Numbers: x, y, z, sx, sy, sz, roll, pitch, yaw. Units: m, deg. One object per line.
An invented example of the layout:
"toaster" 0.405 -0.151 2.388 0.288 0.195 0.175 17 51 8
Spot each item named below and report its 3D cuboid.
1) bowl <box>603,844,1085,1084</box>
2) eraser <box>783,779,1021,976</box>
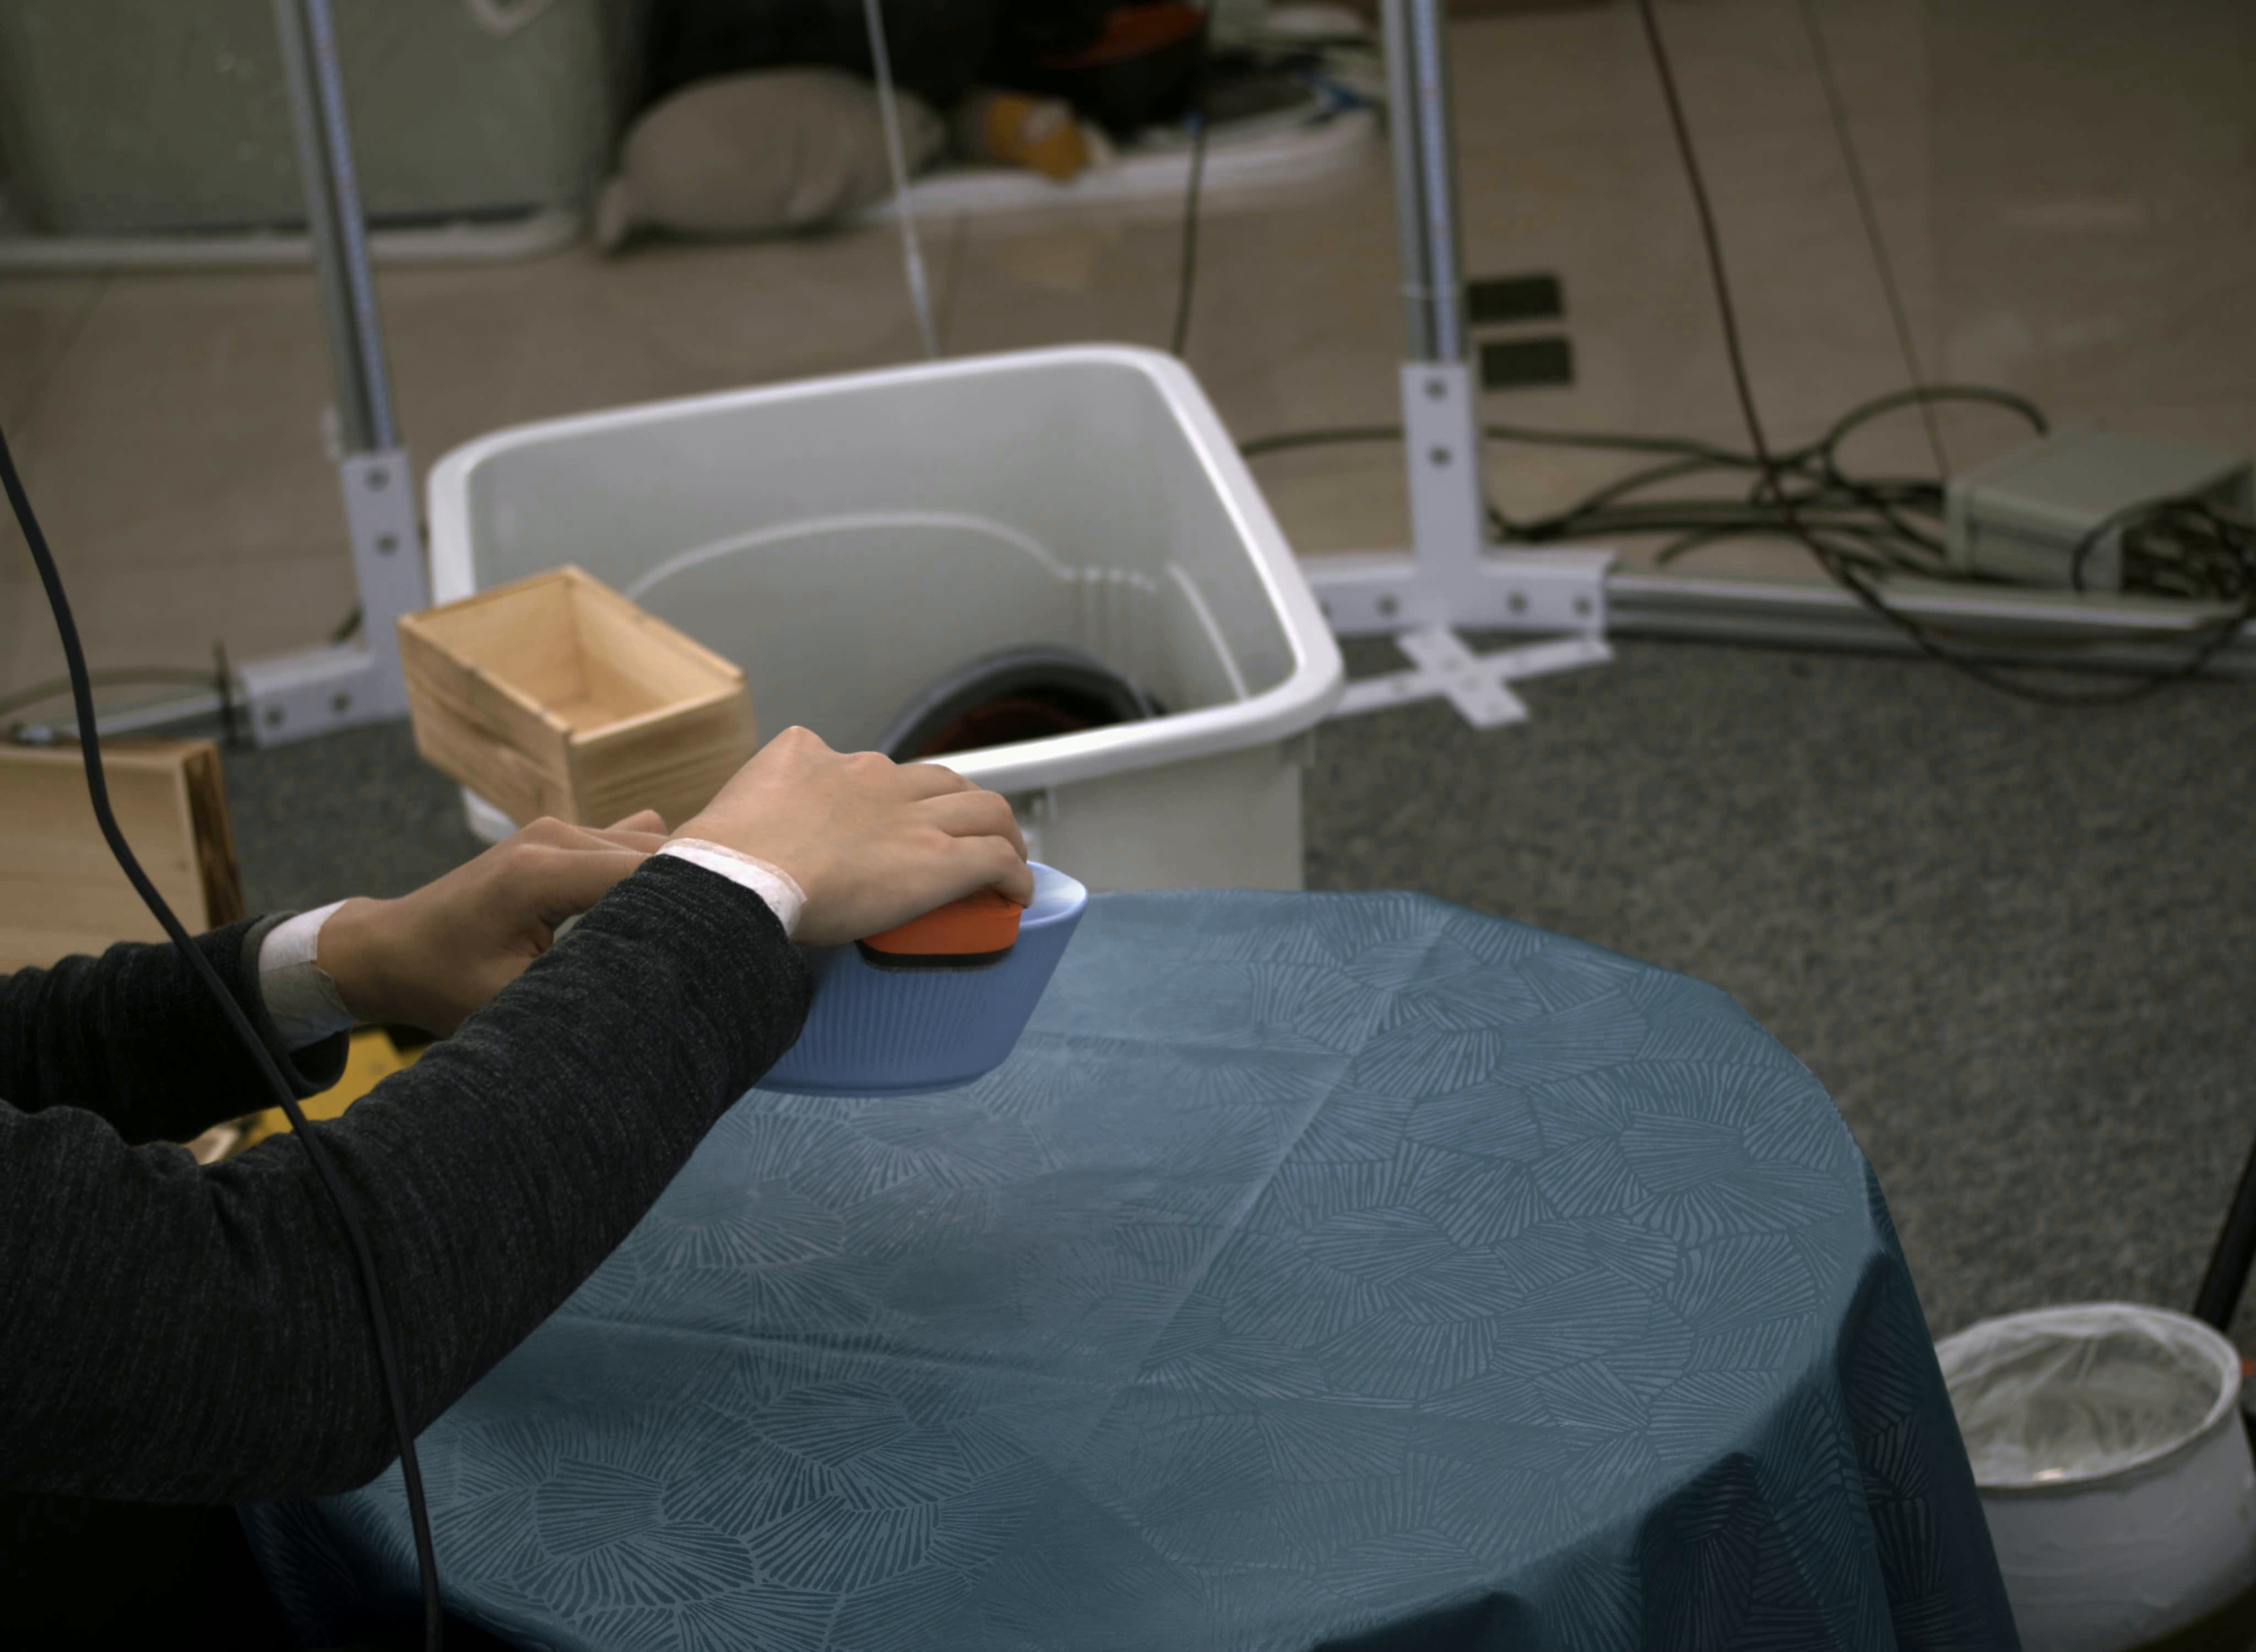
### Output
"bowl" -0.105 0.051 2.068 0.176 0.071 0.175 3 9 0
"eraser" -0.080 0.017 1.990 0.059 0.023 0.106 1 29 -24
